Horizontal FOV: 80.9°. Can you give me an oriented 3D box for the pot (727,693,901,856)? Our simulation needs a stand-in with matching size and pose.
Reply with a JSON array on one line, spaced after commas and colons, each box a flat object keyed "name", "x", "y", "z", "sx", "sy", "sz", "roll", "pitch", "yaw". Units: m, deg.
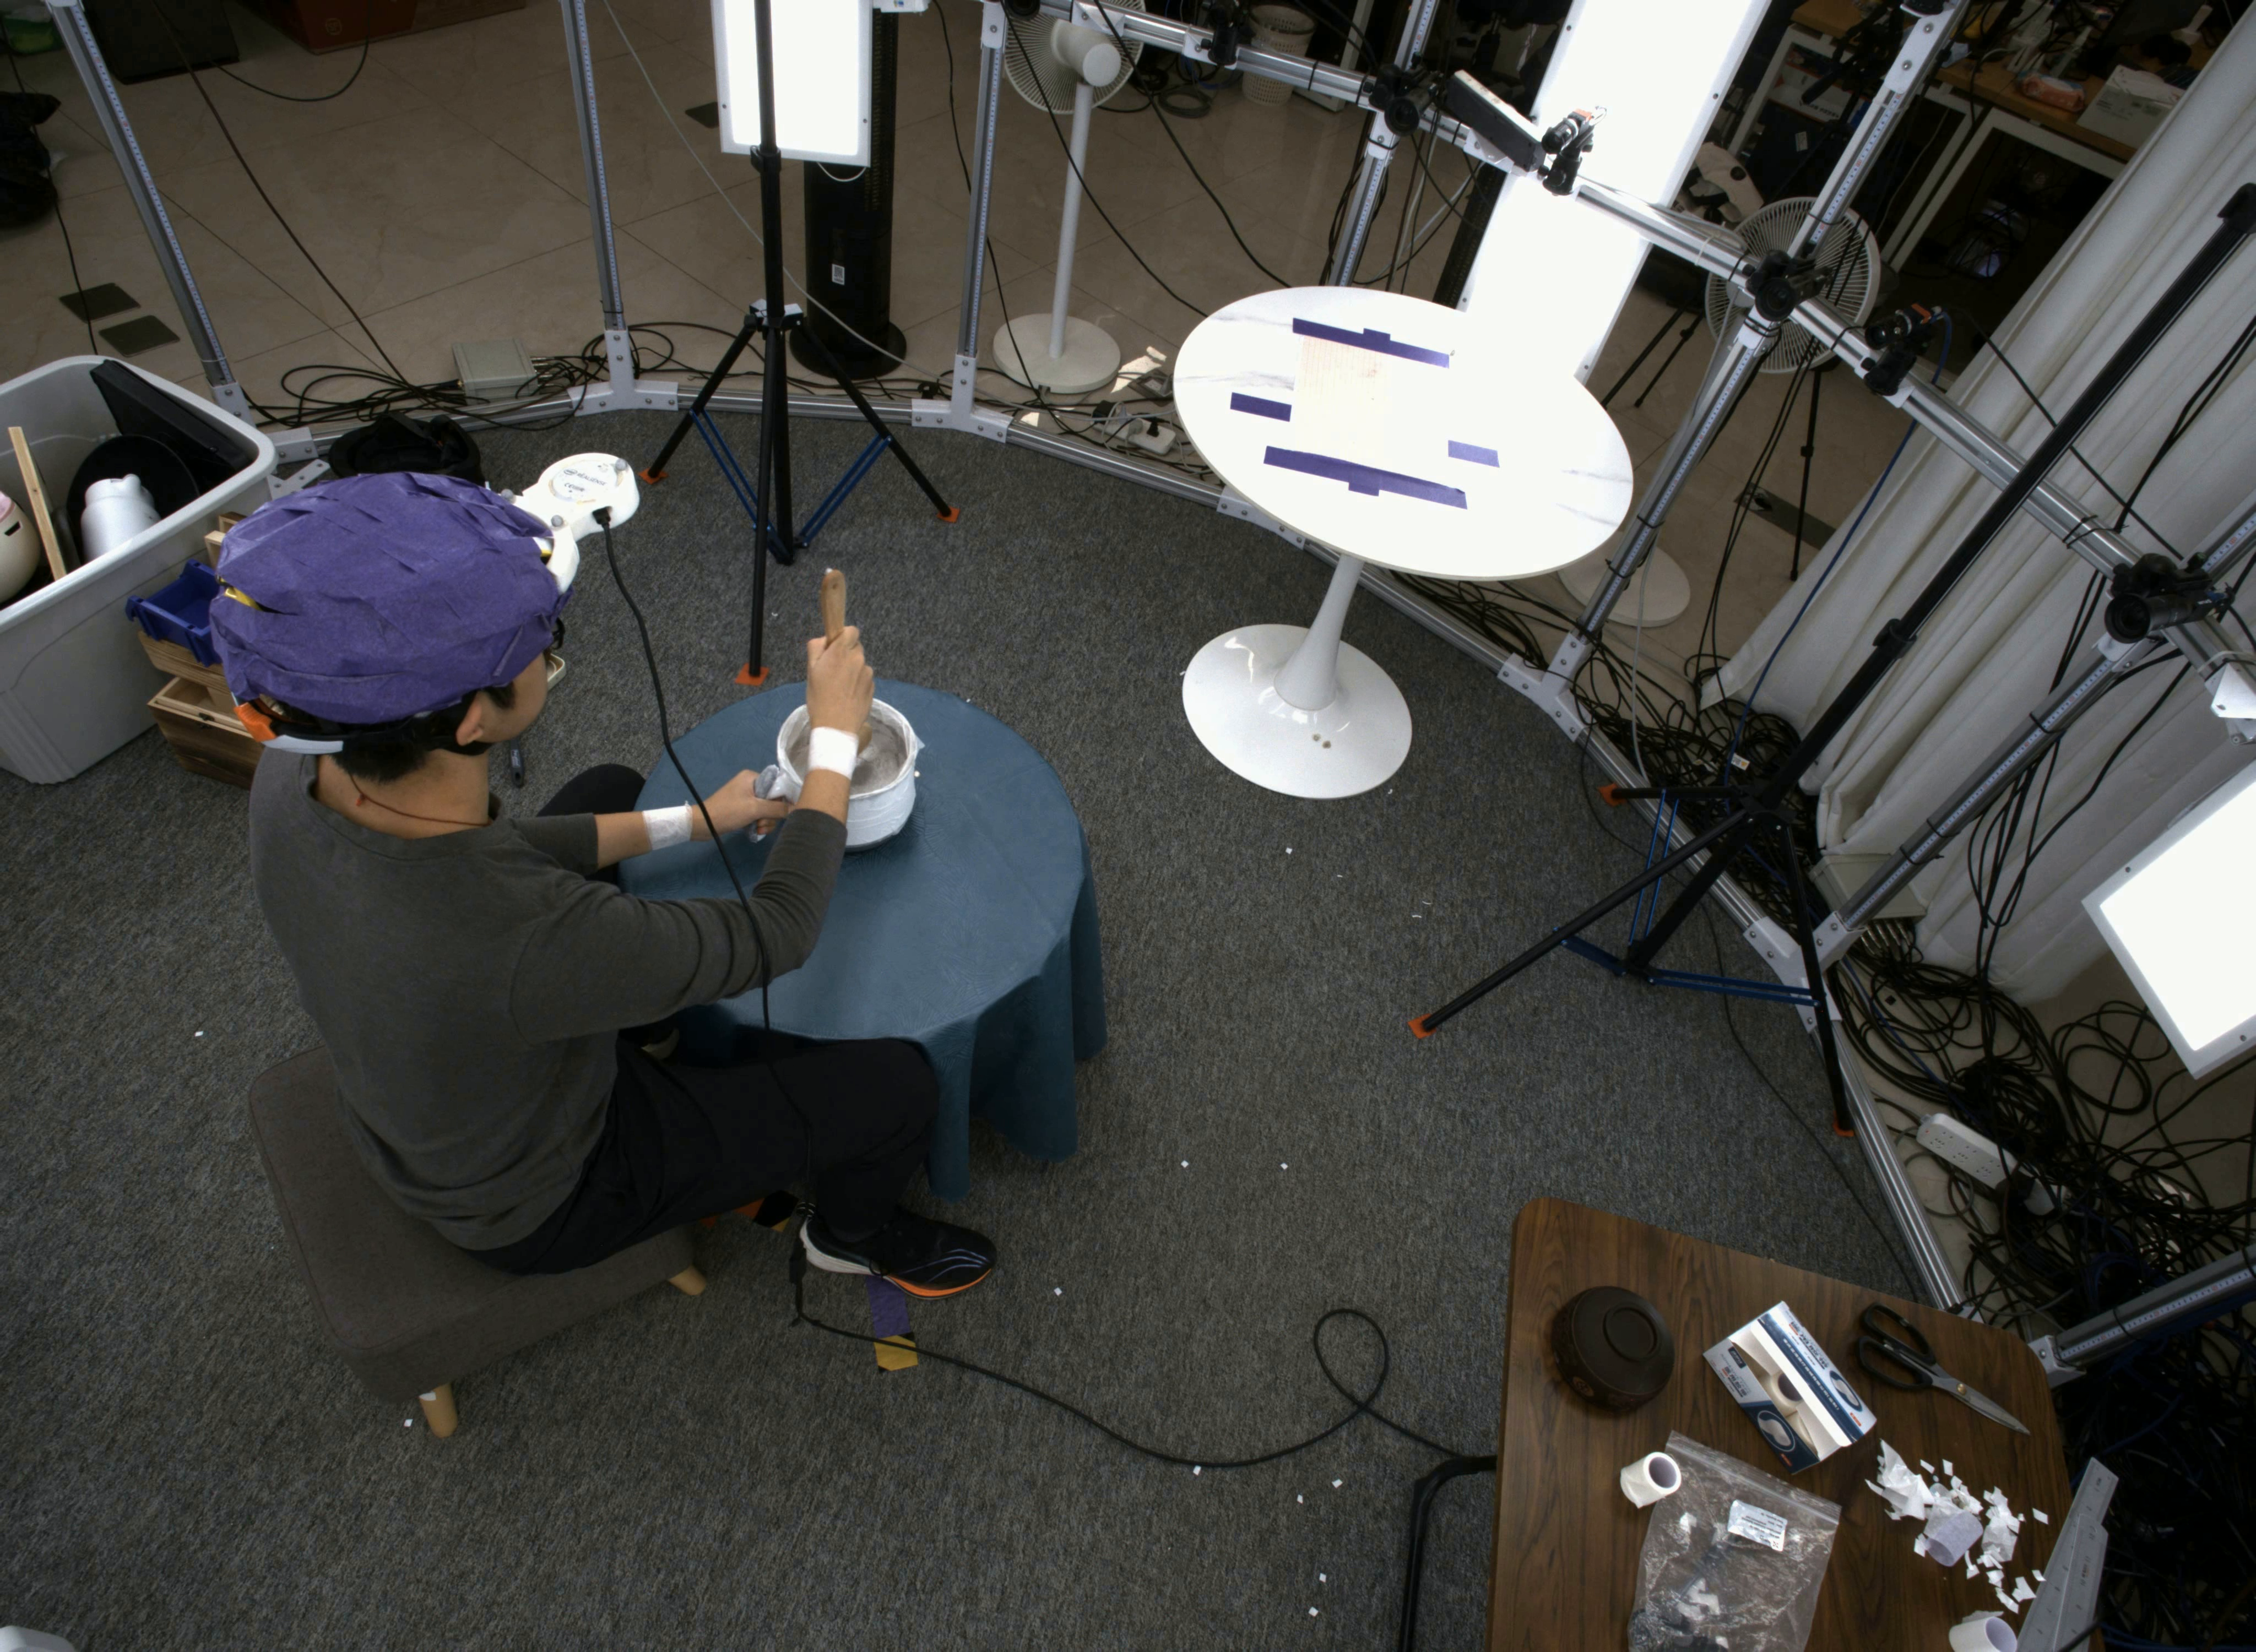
[{"name": "pot", "x": -0.411, "y": -0.054, "z": 1.691, "sx": 0.235, "sy": 0.139, "sz": 0.174, "roll": -25, "pitch": 62, "yaw": -28}]

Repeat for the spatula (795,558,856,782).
[{"name": "spatula", "x": -0.371, "y": -0.181, "z": 1.558, "sx": 0.018, "sy": 0.399, "sz": 0.096, "roll": 38, "pitch": 60, "yaw": 17}]
